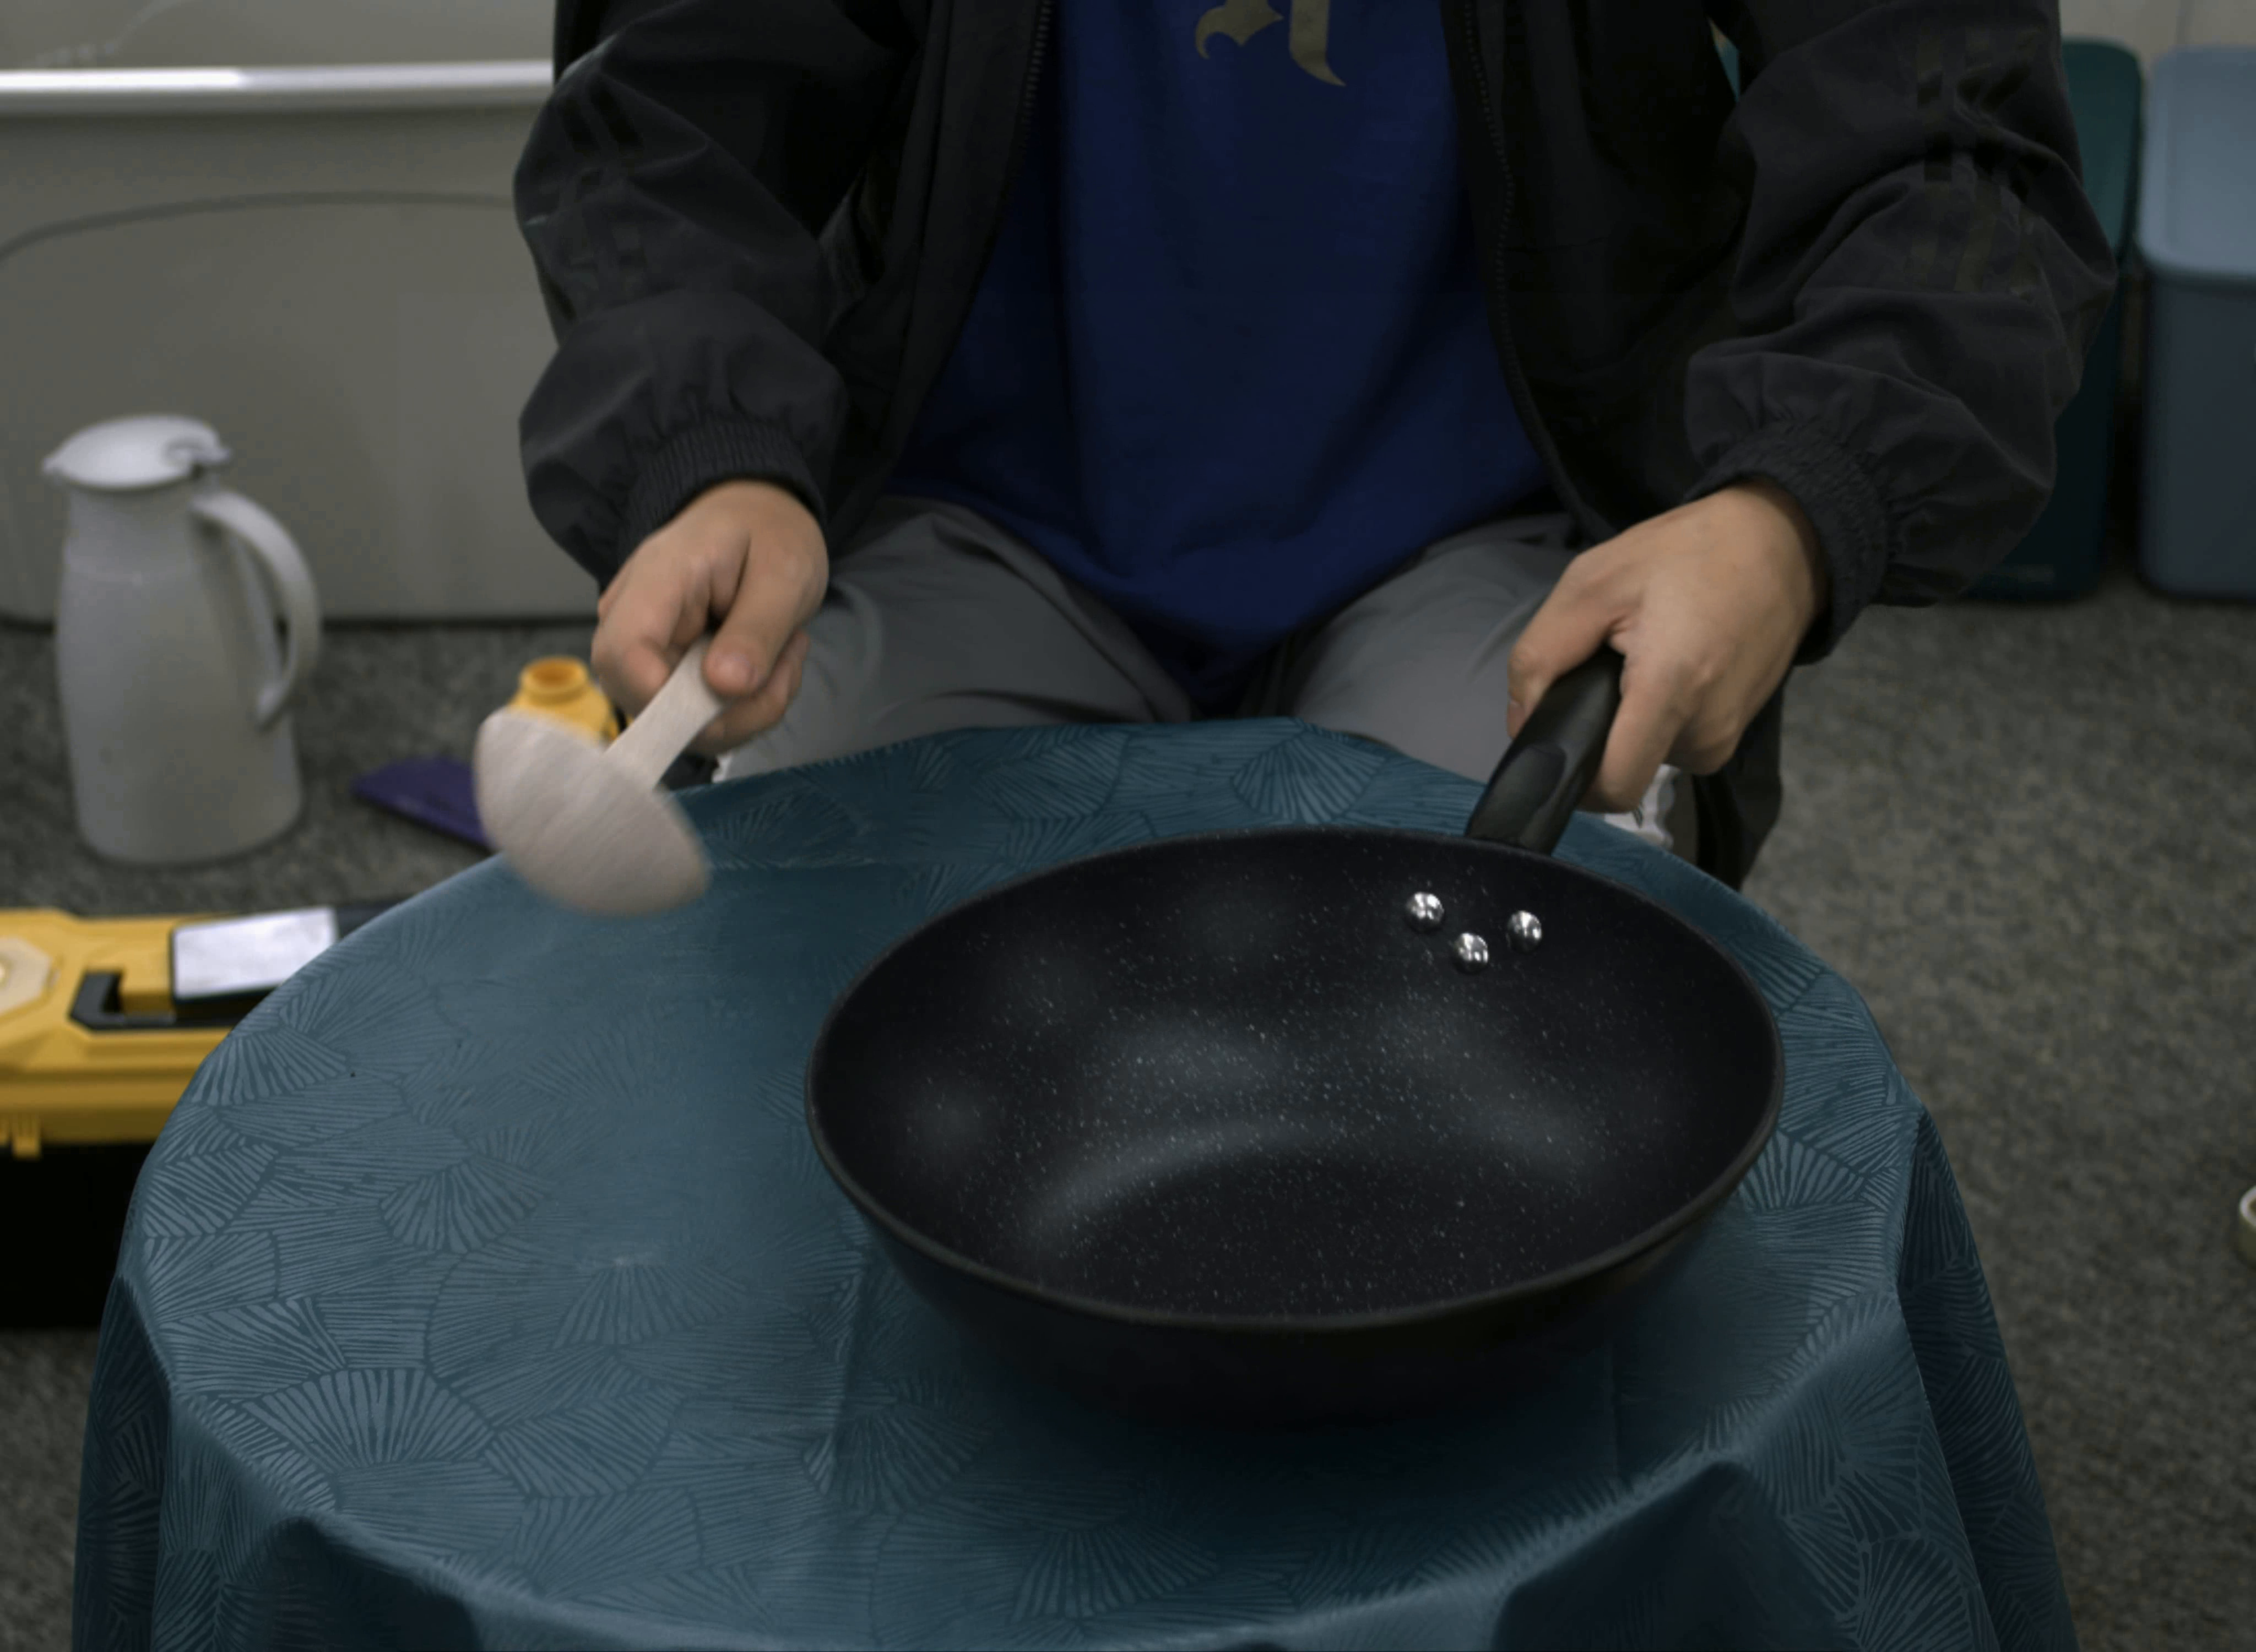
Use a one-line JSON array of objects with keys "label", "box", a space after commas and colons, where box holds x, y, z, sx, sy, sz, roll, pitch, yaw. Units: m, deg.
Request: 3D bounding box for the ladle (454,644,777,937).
[{"label": "ladle", "box": [-0.150, -0.037, 1.891, 0.089, 0.068, 0.279, 33, 25, 1]}]

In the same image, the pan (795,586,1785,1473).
[{"label": "pan", "box": [0.089, 0.068, 1.836, 0.308, 0.110, 0.485, 12, 32, 24]}]
